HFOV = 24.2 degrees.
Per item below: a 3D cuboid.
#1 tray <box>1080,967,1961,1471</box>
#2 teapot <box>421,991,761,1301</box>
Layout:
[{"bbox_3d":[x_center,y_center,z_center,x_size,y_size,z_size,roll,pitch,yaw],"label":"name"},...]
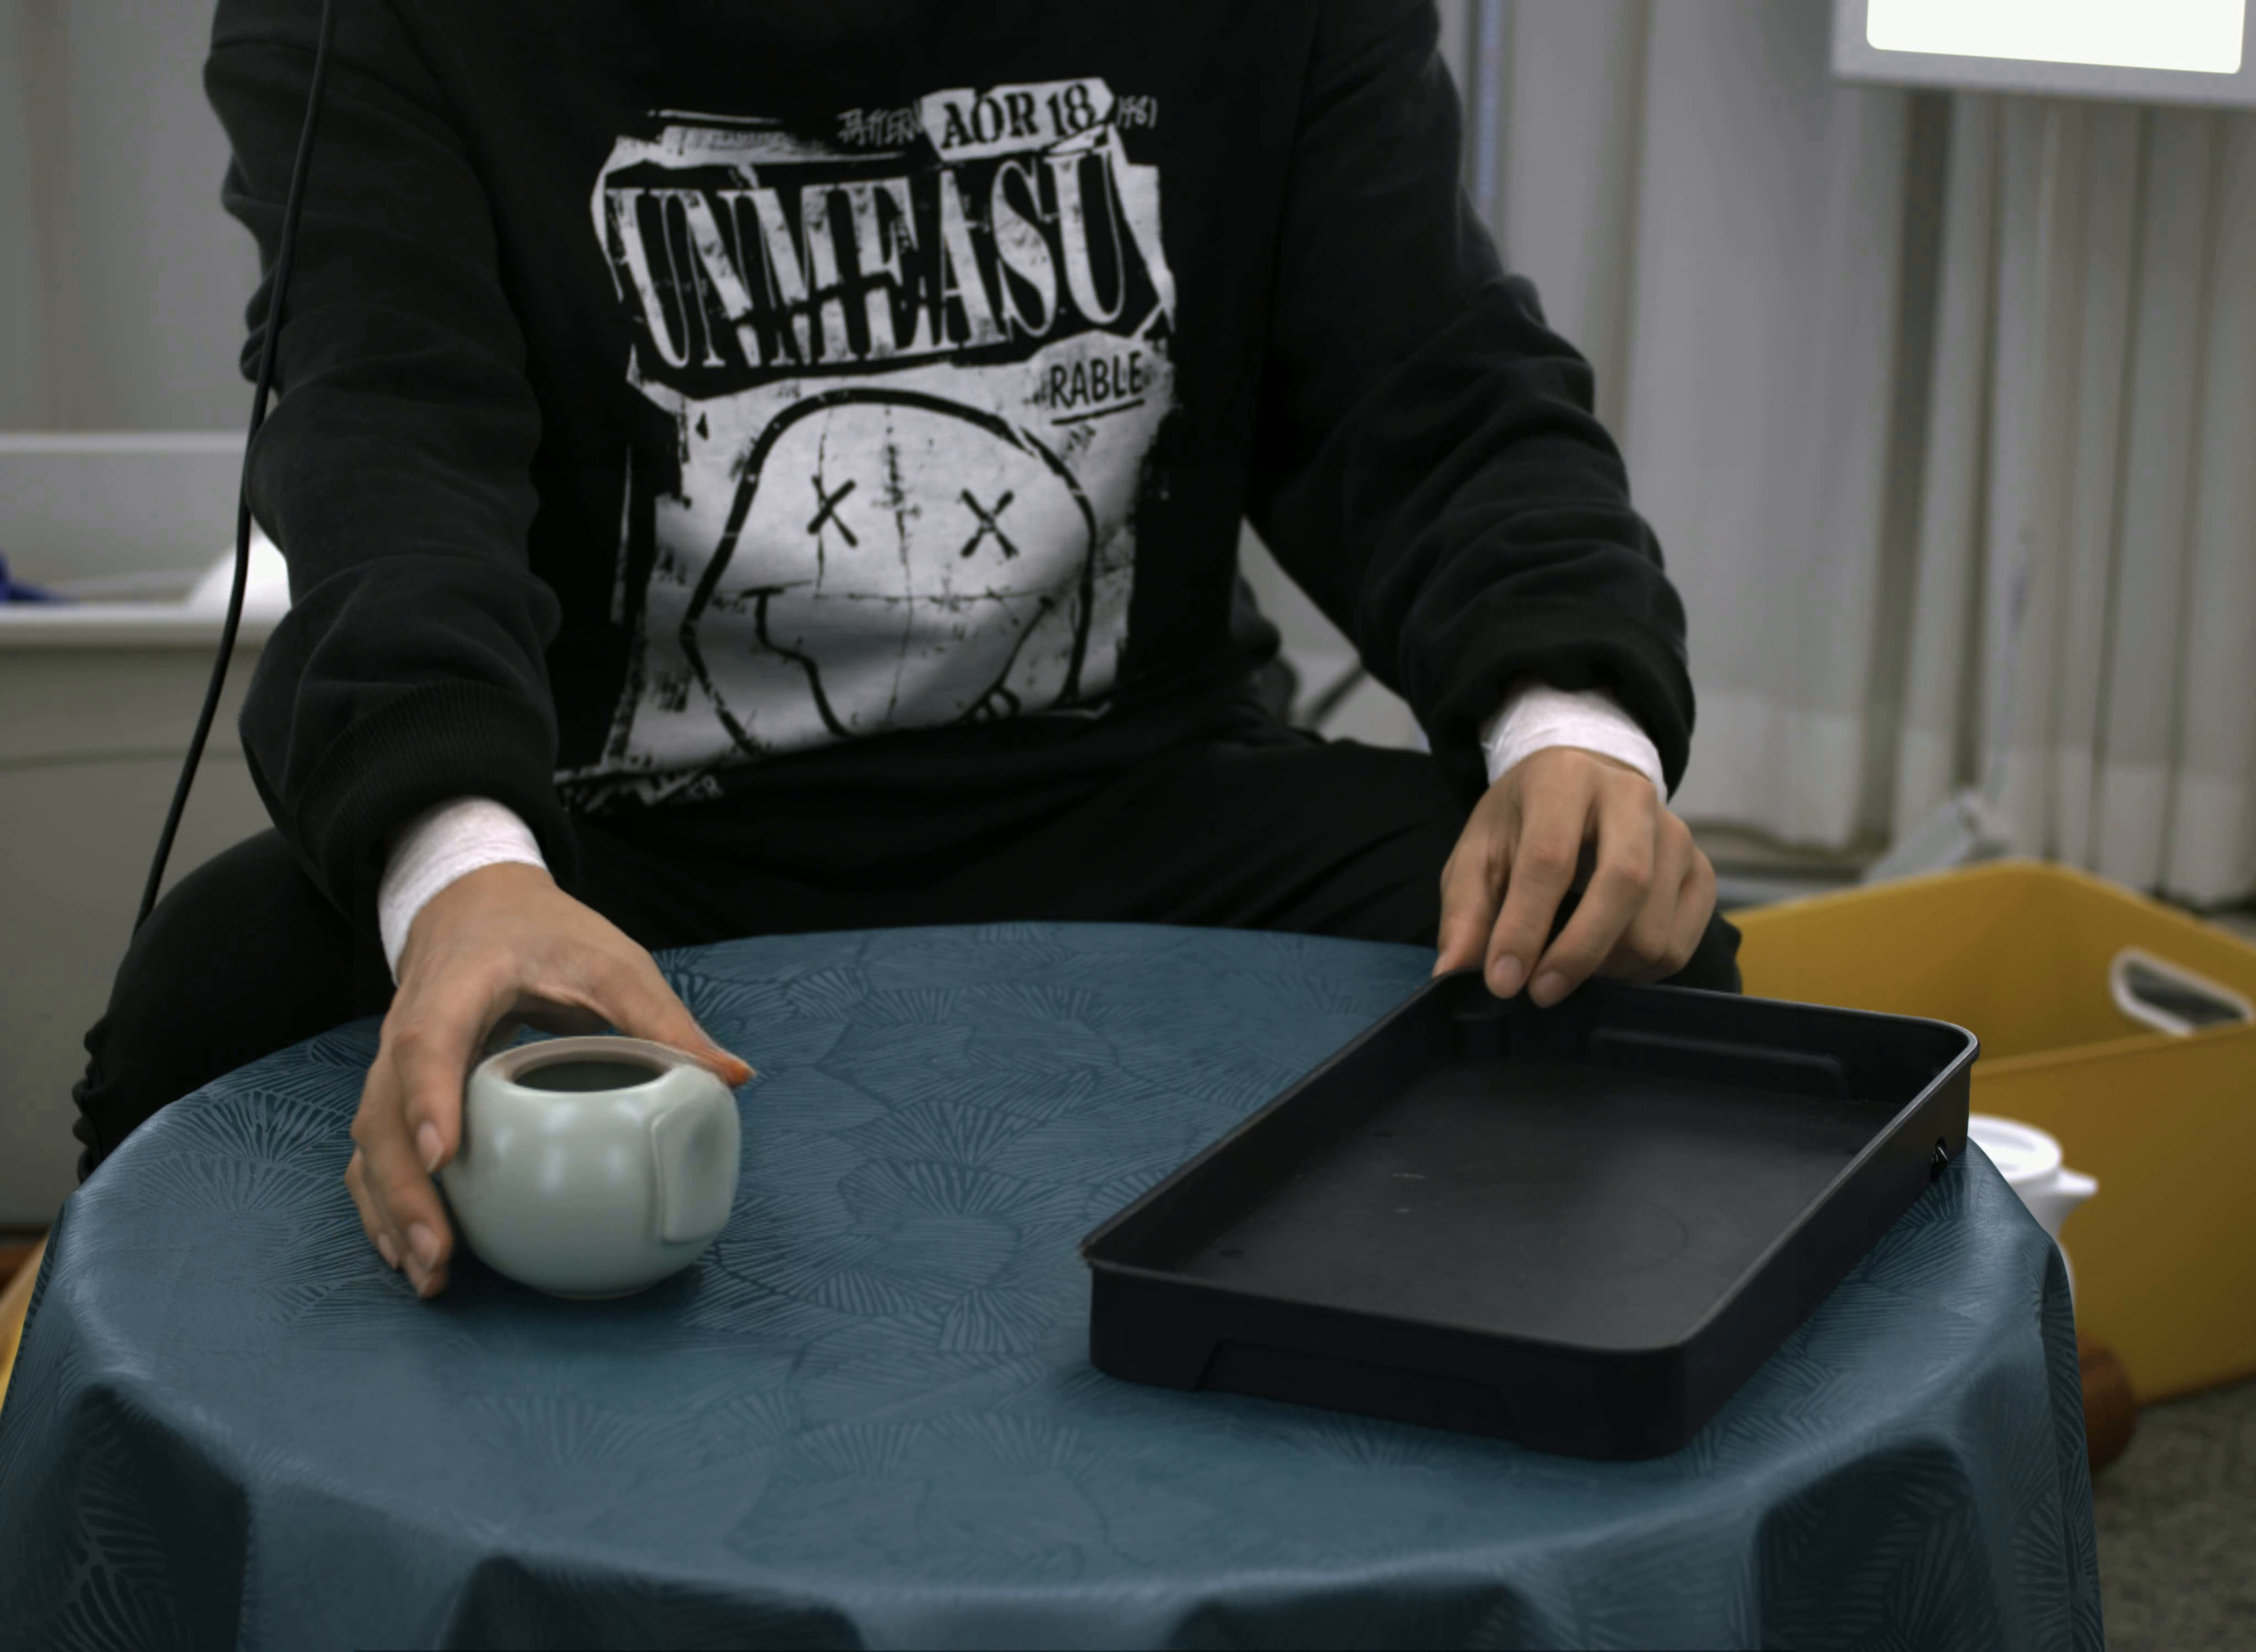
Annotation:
[{"bbox_3d":[0.124,0.109,1.569,0.182,0.037,0.318,7,17,21],"label":"tray"},{"bbox_3d":[-0.157,0.097,1.536,0.089,0.075,0.142,-15,23,-43],"label":"teapot"}]
